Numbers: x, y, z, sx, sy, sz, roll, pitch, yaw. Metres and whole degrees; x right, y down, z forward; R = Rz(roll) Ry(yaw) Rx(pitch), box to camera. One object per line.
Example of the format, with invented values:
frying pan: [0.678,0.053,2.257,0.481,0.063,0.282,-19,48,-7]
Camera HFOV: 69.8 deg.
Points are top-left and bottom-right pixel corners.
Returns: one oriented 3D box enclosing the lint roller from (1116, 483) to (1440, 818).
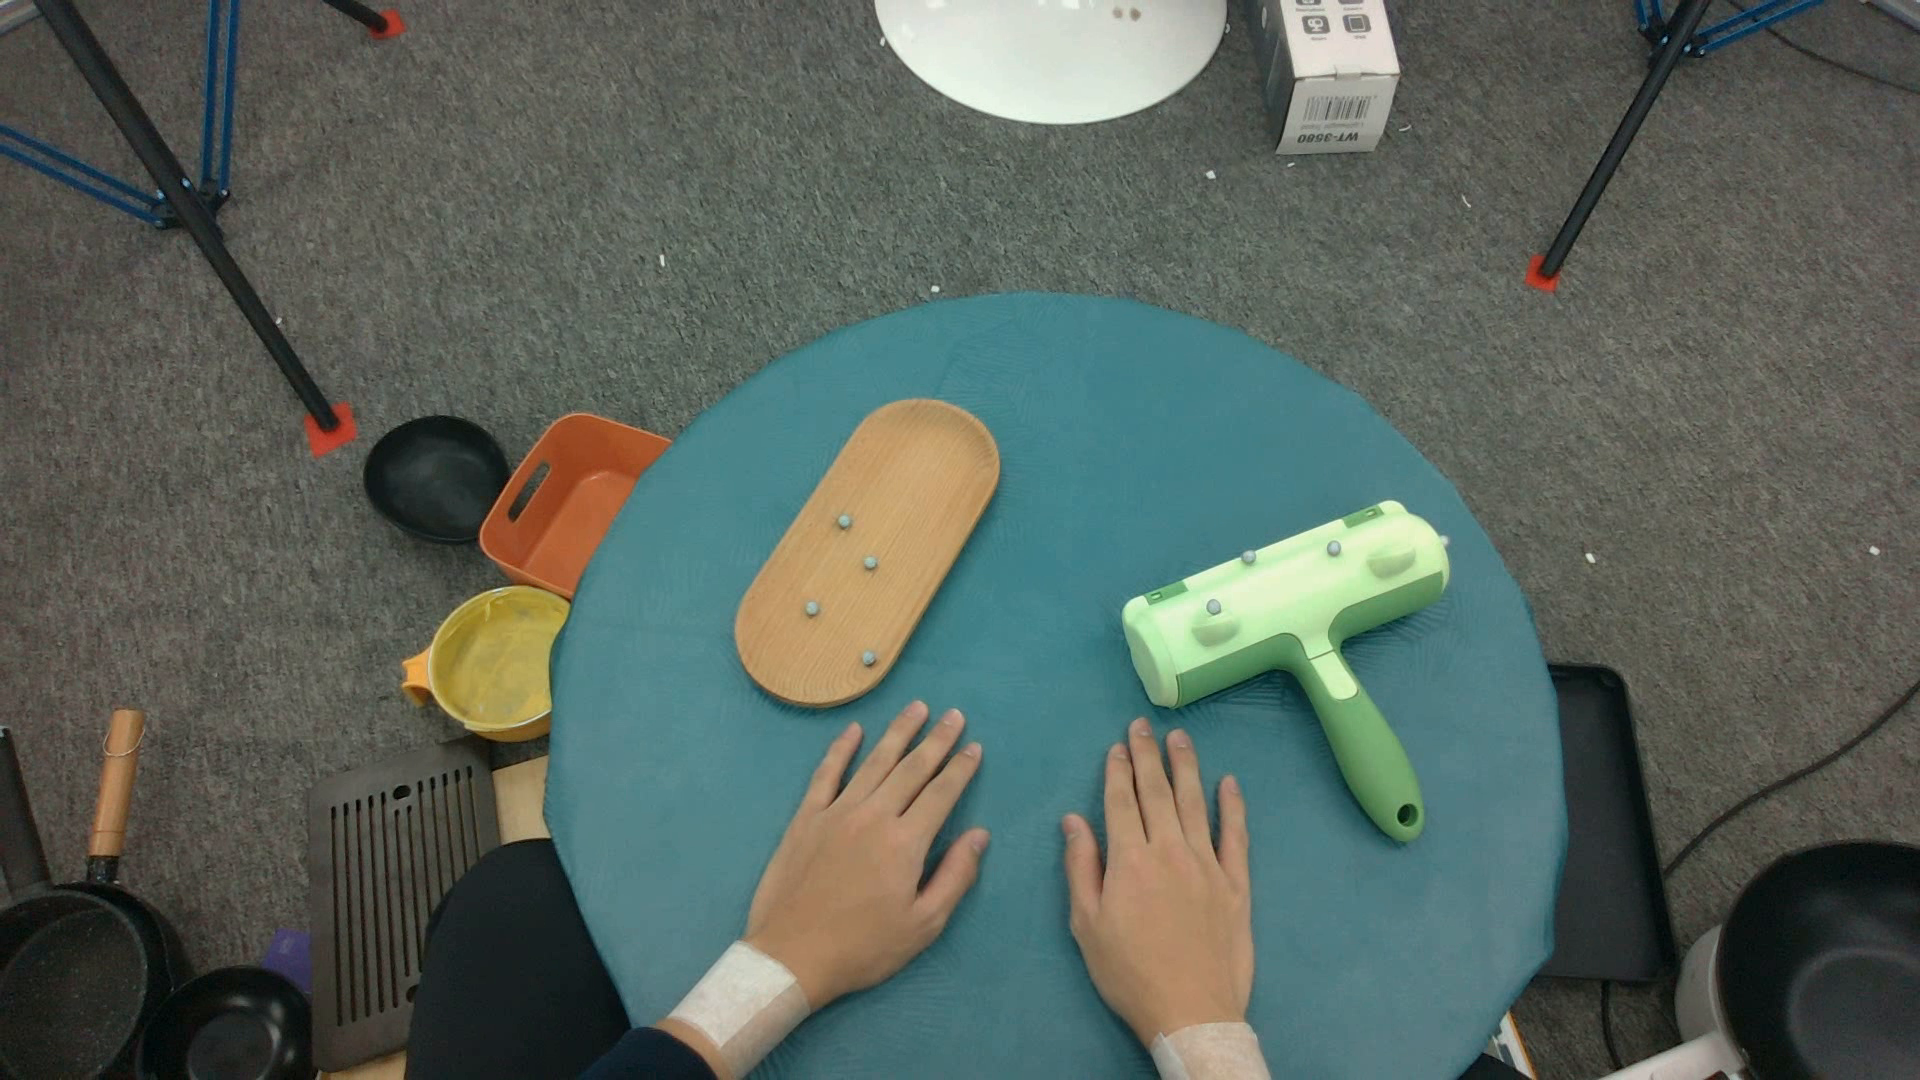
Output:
lint roller: [0.215,0.067,0.785,0.199,0.082,0.184,-22,59,-13]

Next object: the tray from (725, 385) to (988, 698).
tray: [-0.061,-0.003,0.854,0.101,0.020,0.232,24,61,10]
